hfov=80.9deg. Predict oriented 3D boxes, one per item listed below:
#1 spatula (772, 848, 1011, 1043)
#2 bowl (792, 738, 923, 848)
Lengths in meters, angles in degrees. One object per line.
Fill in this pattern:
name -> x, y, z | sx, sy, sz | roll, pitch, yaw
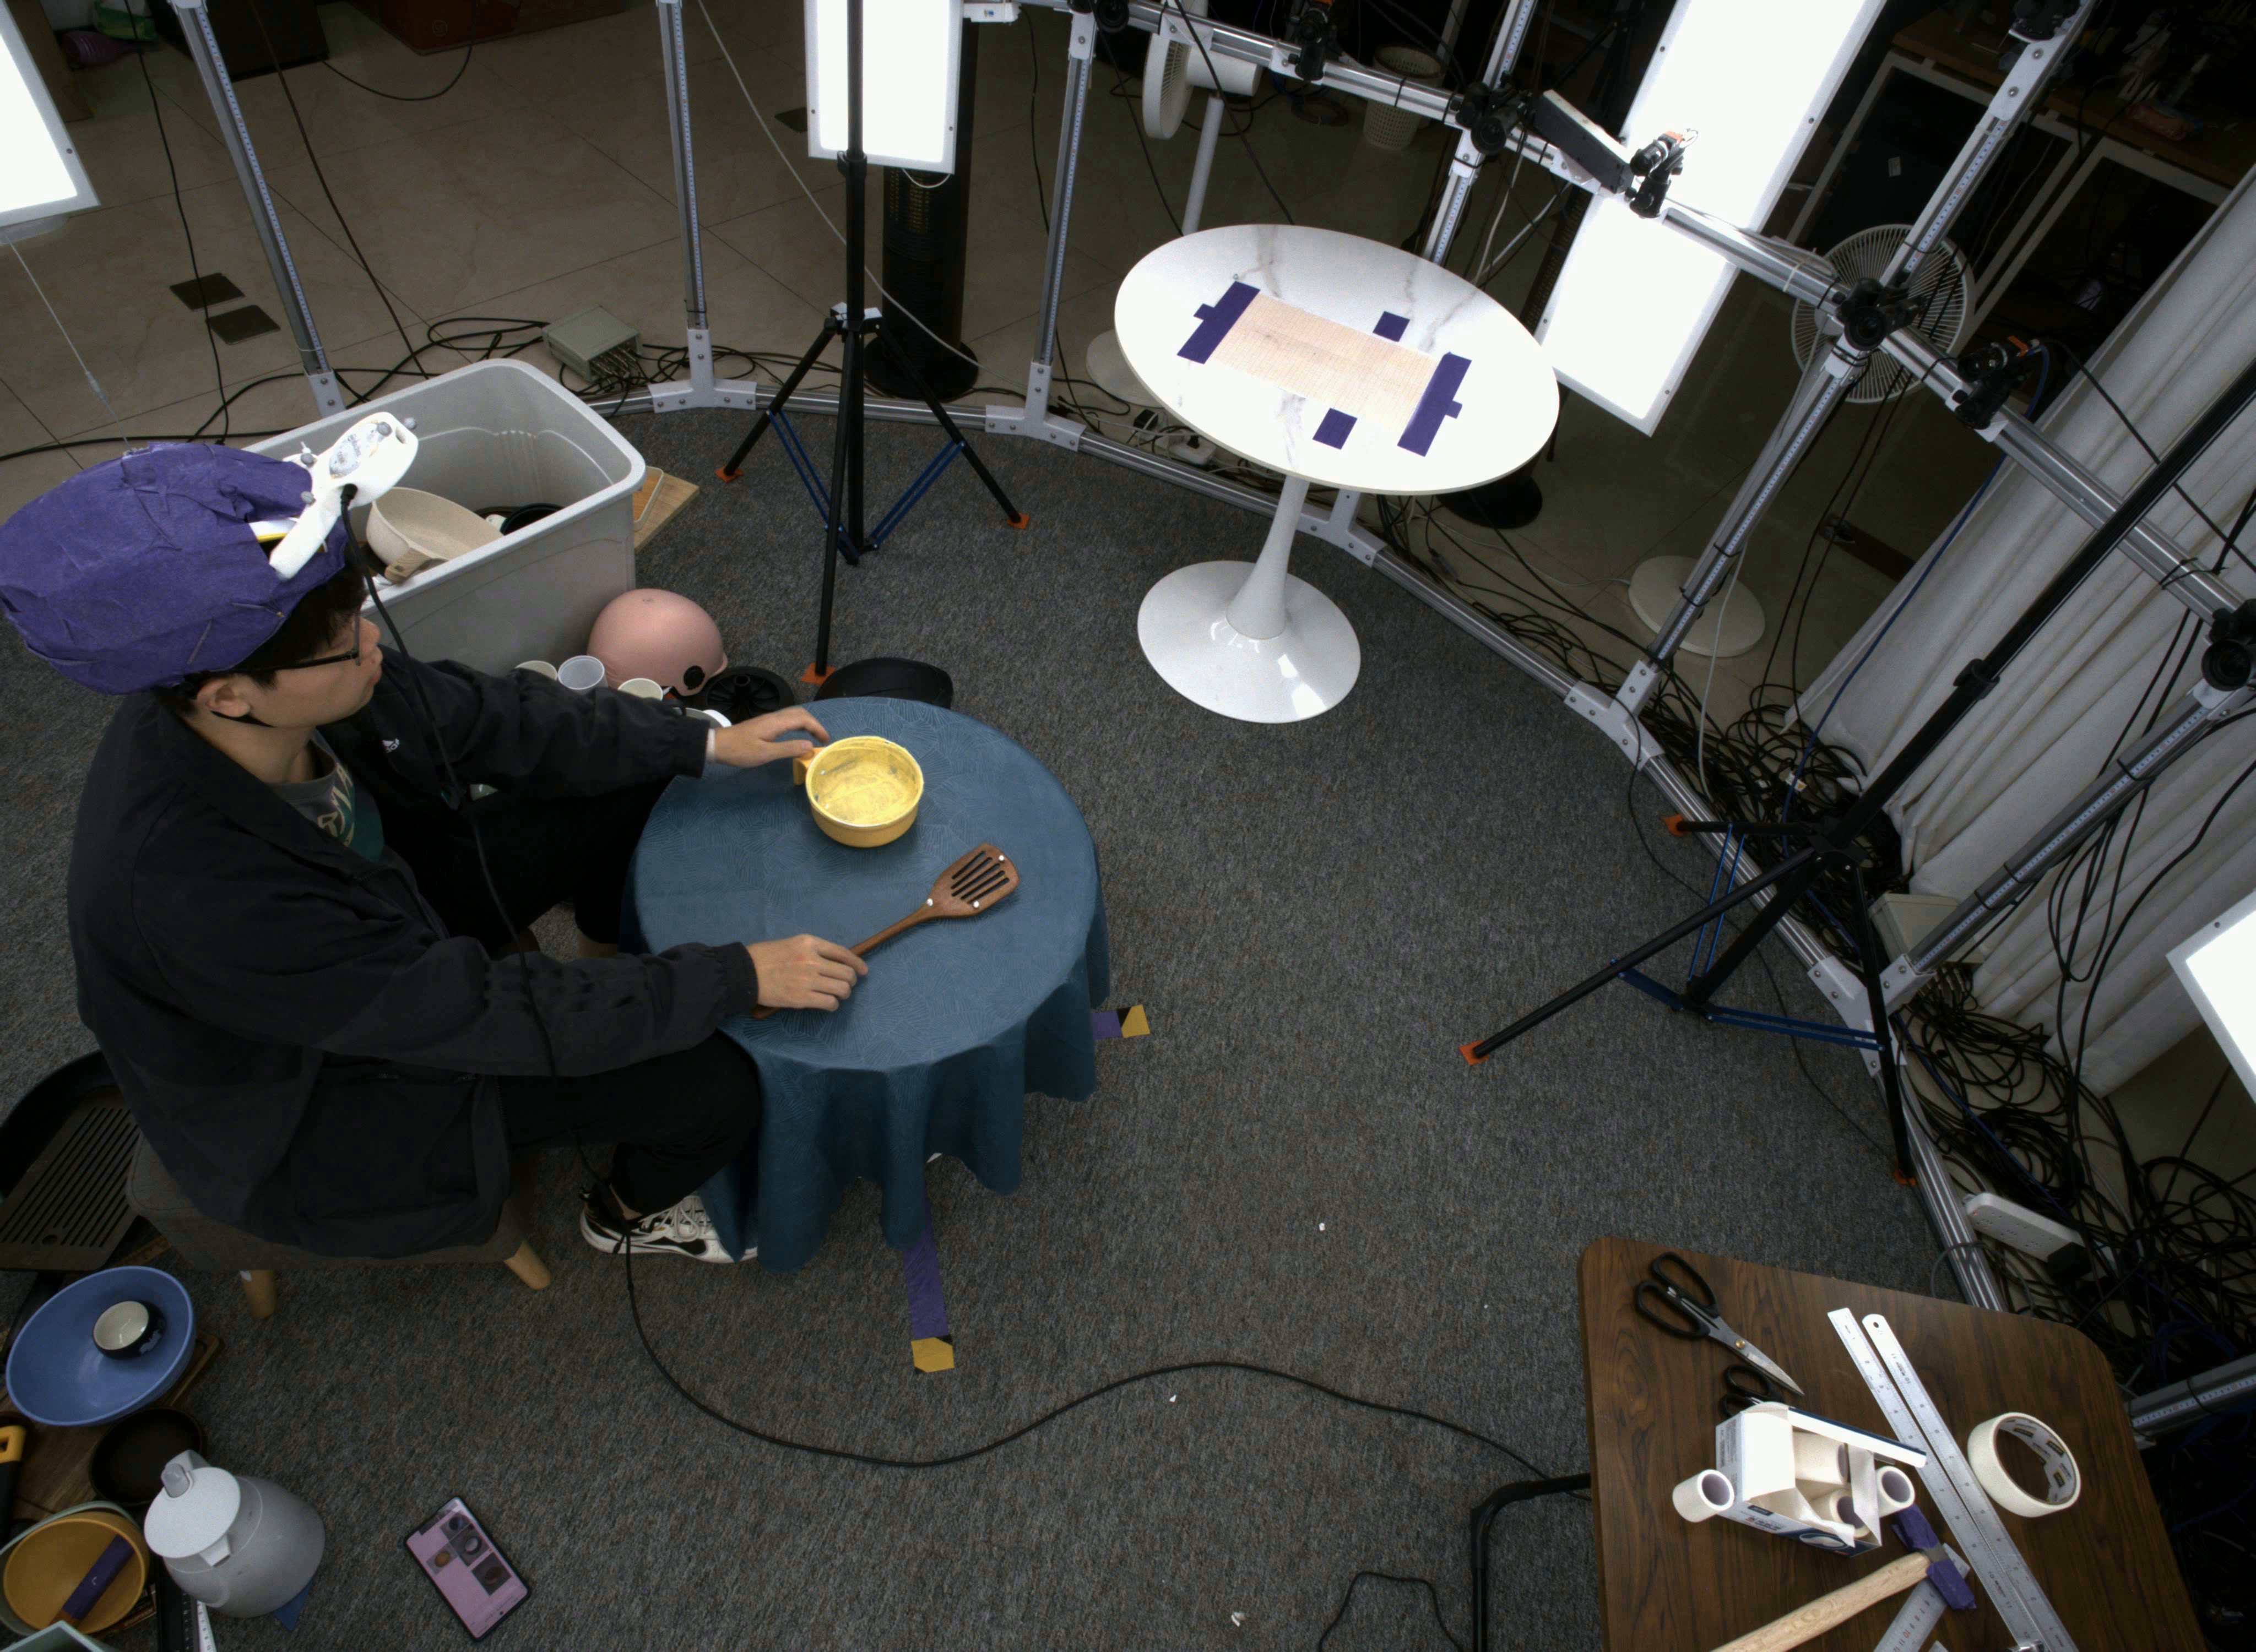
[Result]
spatula -> -0.297, 0.149, 1.641 | 0.083, 0.024, 0.387 | 32, 50, 22
bowl -> -0.364, -0.047, 1.734 | 0.177, 0.076, 0.151 | 21, 51, 2
